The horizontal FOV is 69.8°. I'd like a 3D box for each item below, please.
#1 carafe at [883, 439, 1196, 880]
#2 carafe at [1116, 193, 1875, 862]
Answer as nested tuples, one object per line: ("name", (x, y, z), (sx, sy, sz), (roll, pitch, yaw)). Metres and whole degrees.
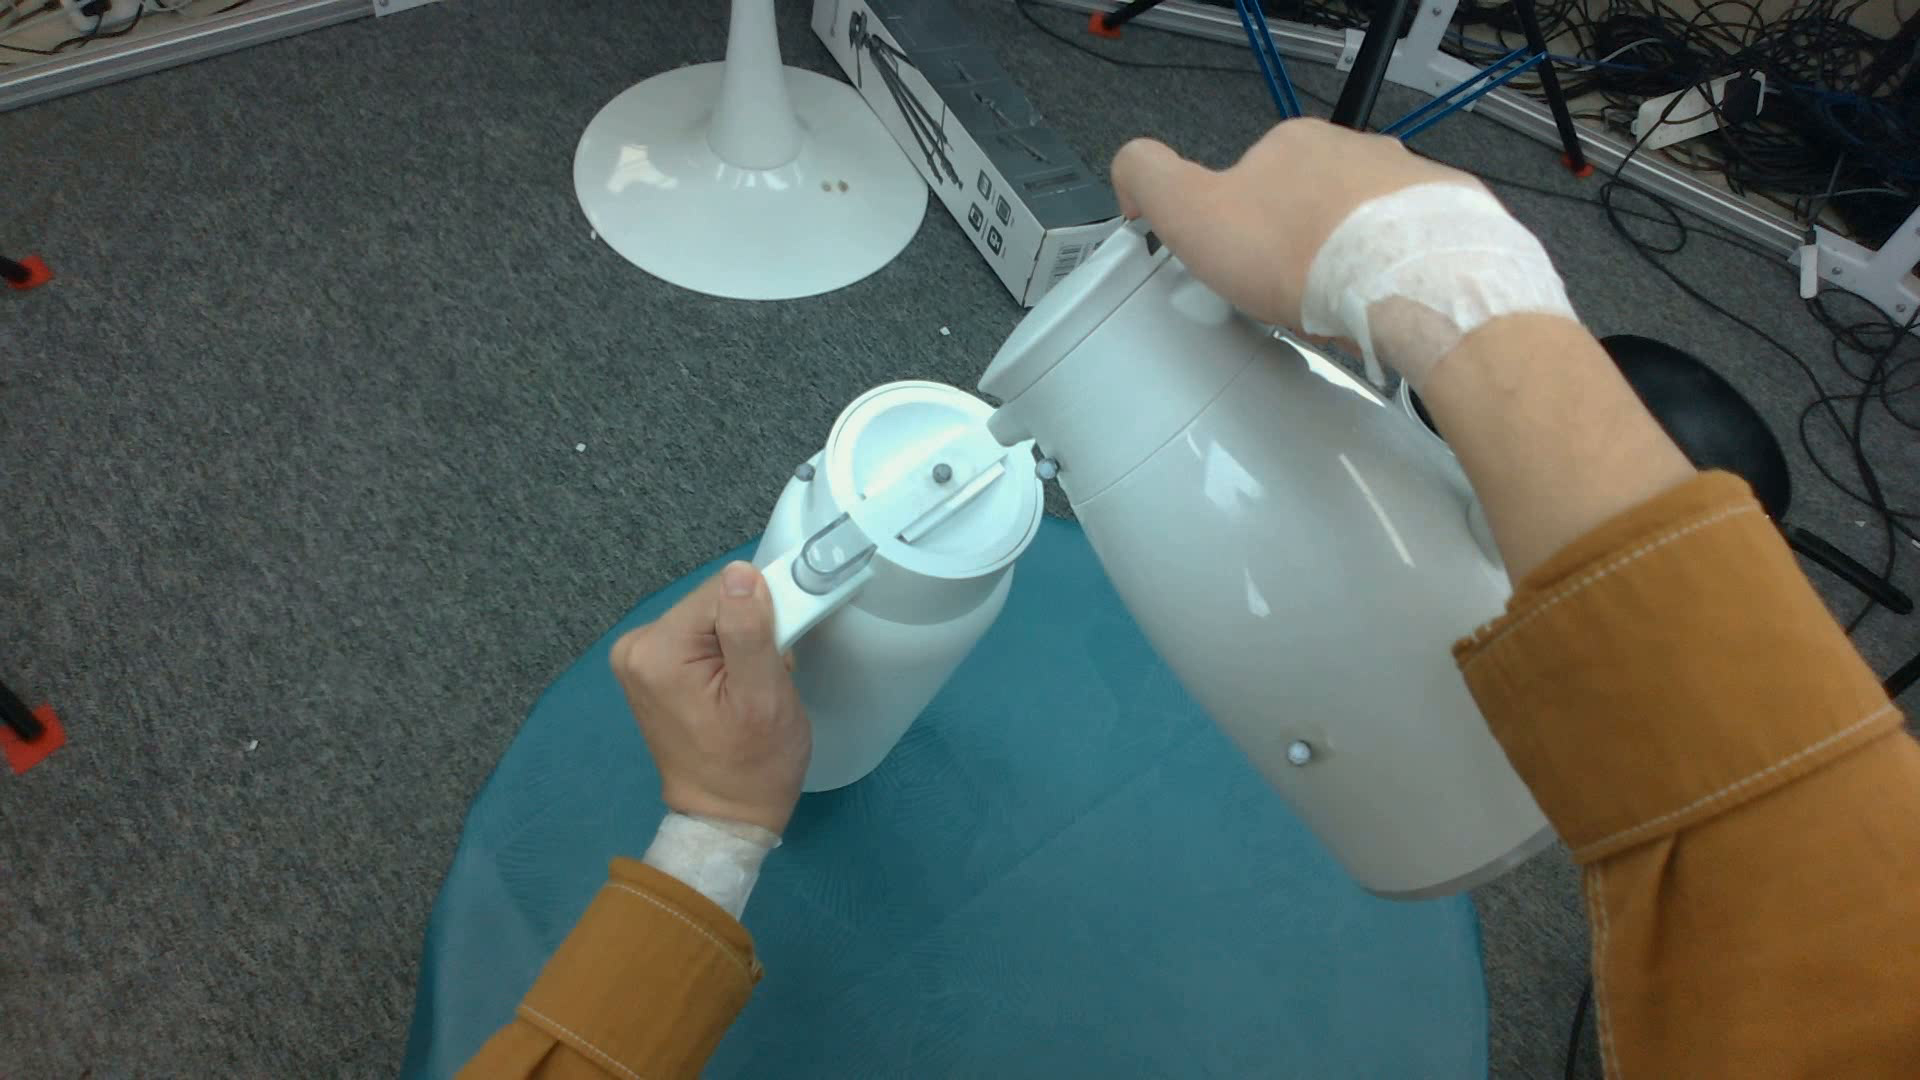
("carafe", (0.027, 0.081, 0.682), (0.124, 0.267, 0.173), (36, 58, 13))
("carafe", (0.187, -0.020, 0.490), (0.248, 0.167, 0.133), (37, 44, -1))
